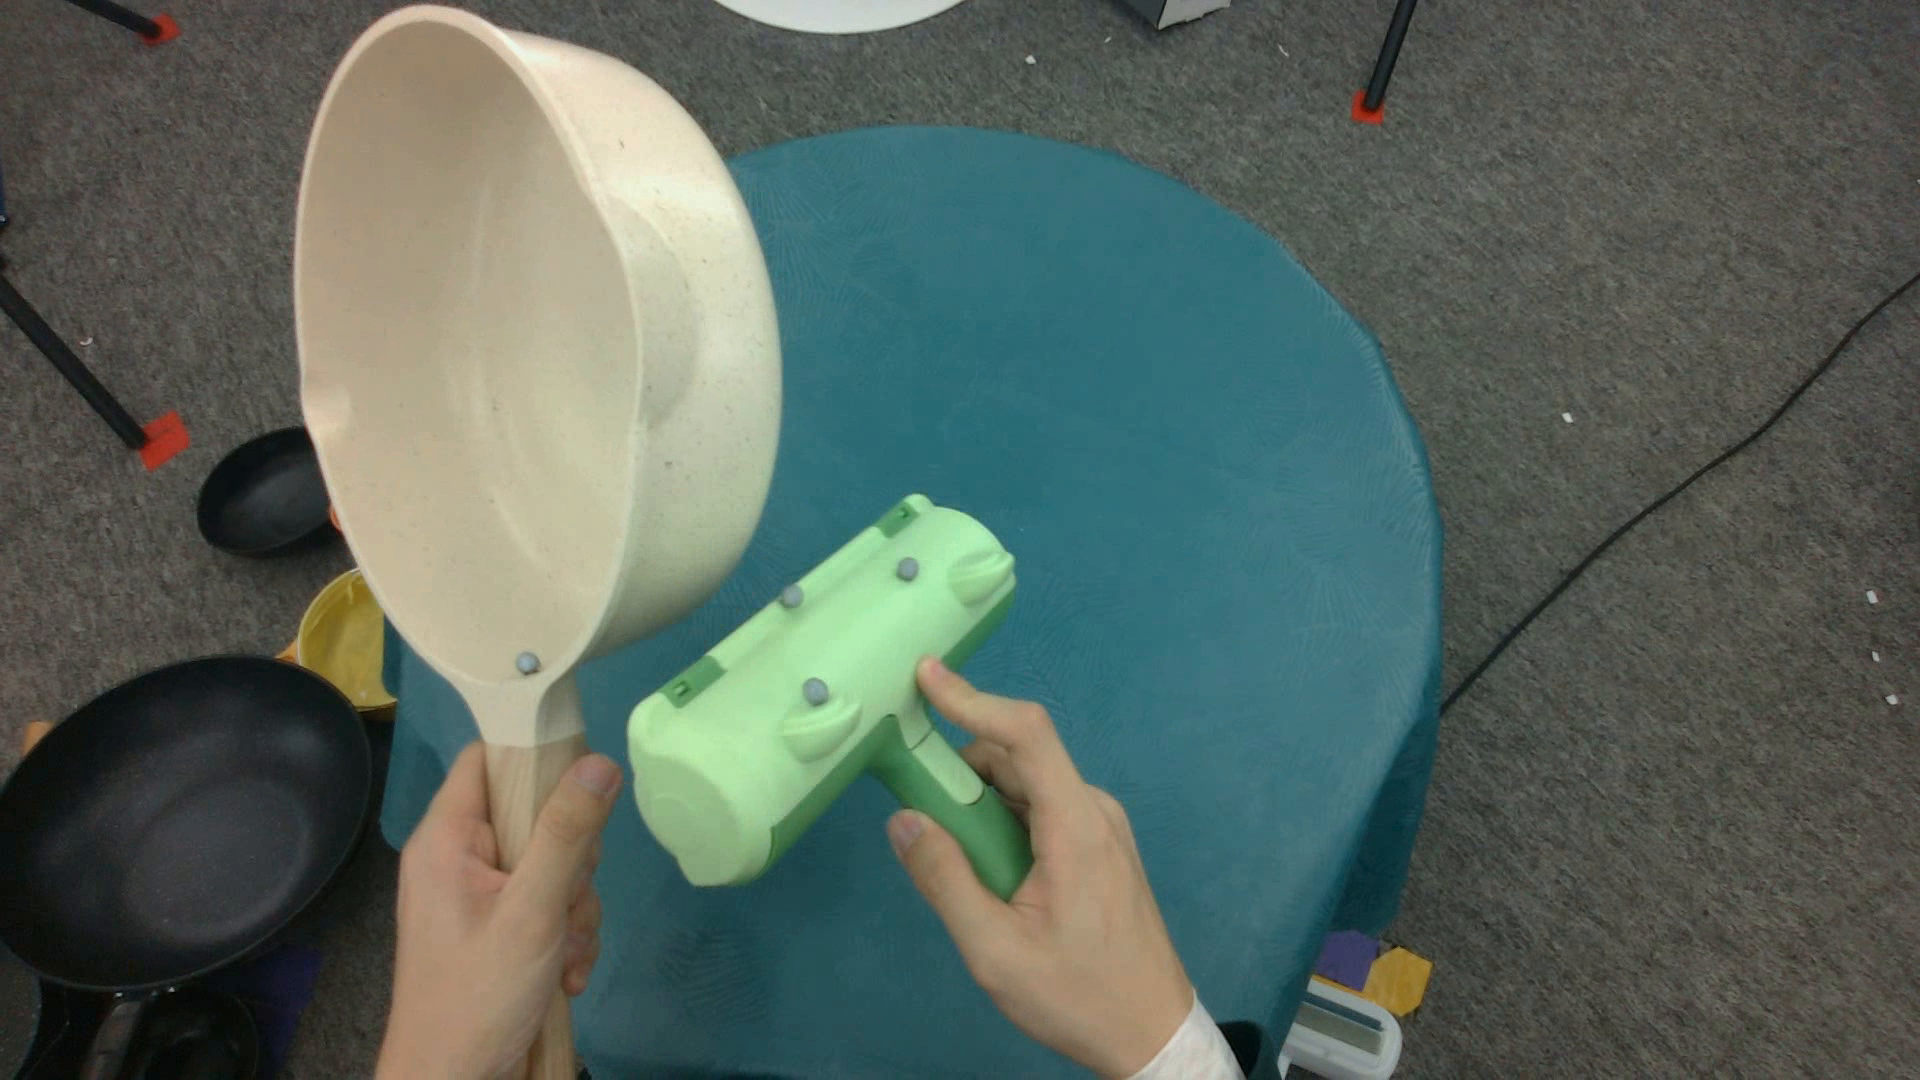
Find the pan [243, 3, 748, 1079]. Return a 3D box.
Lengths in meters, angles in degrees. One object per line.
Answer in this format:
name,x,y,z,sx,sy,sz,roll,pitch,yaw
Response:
pan,-0.168,0.017,0.542,0.102,0.262,0.434,-17,97,-49

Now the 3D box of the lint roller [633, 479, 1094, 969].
lint roller,0.000,0.077,0.506,0.183,0.082,0.199,45,36,2
